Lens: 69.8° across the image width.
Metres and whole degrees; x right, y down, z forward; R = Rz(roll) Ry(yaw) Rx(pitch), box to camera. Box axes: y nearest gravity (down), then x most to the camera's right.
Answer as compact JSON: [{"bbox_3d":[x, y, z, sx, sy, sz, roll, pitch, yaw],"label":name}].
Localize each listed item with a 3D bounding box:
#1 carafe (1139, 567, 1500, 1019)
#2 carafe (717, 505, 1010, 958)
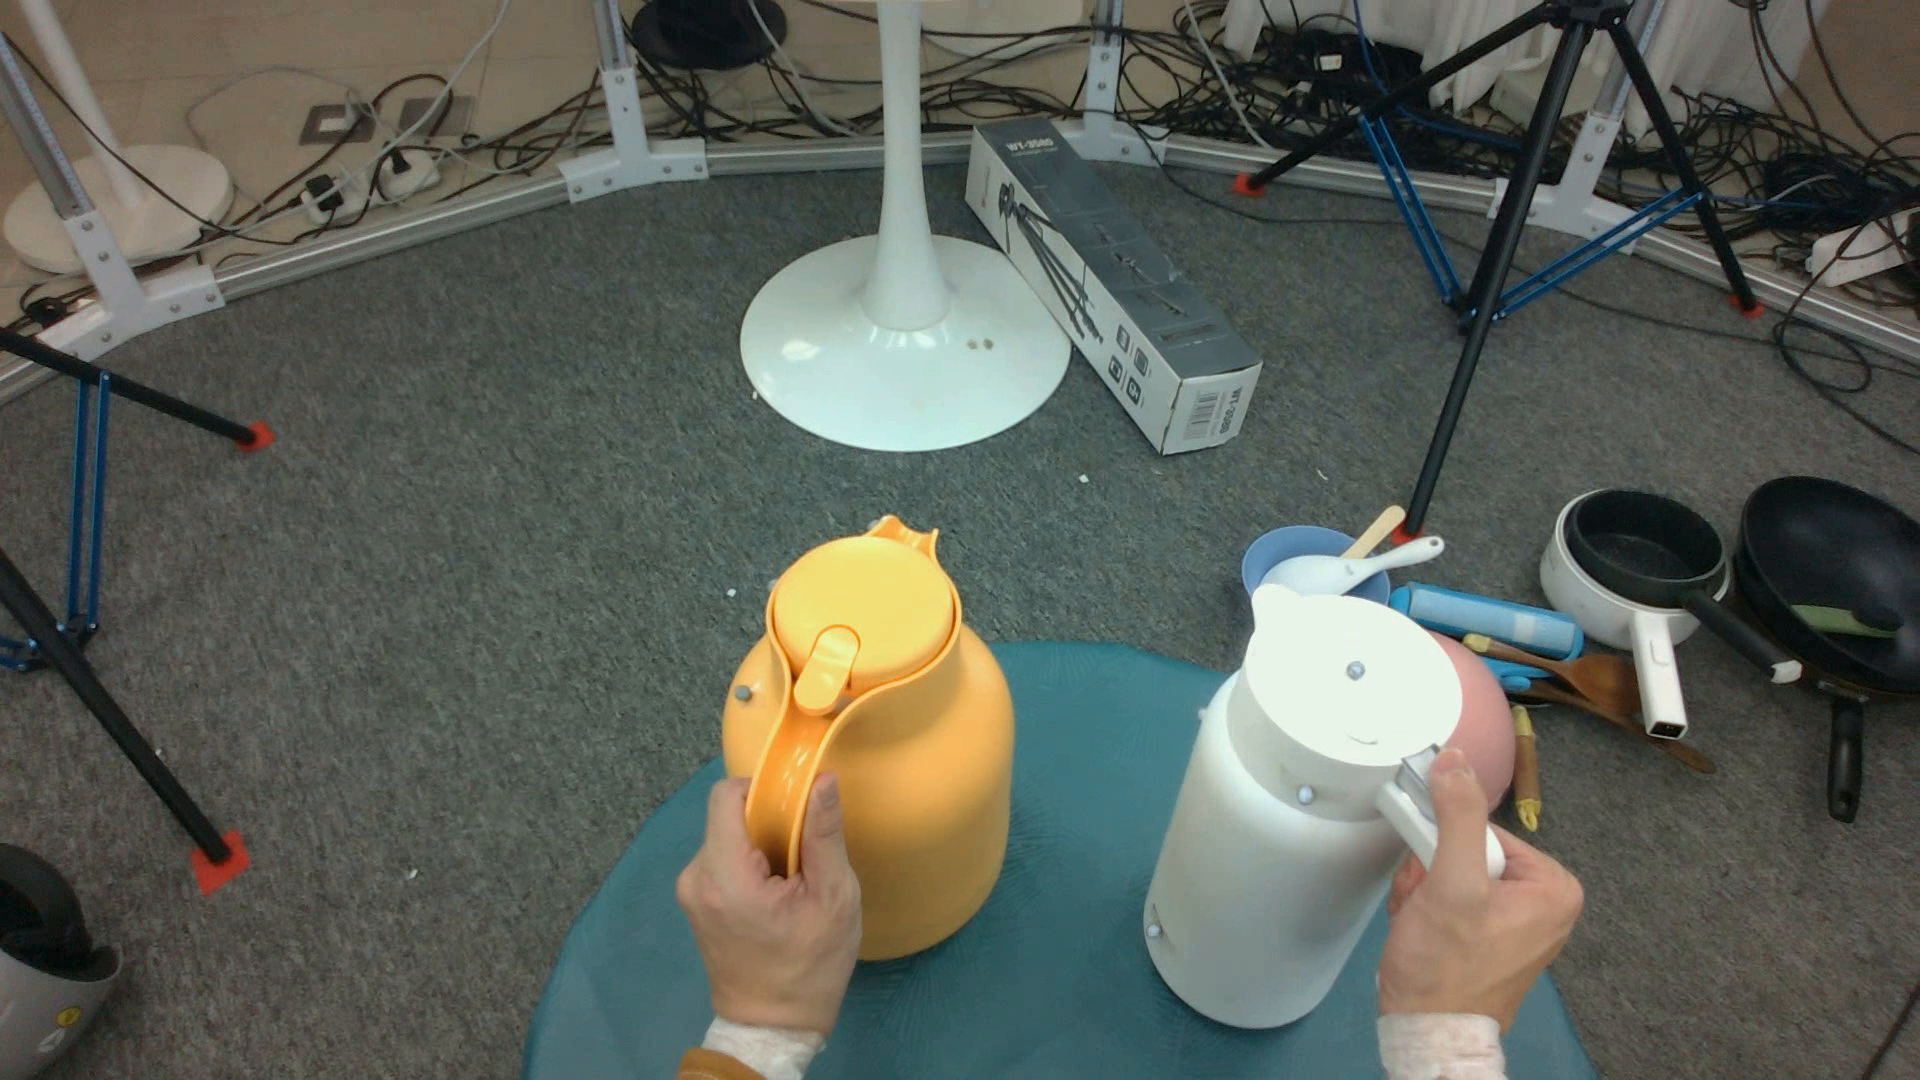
[{"bbox_3d":[0.182,0.157,0.725,0.124,0.267,0.173,-18,52,-24],"label":"carafe"},{"bbox_3d":[-0.061,0.120,0.752,0.163,0.259,0.203,16,48,16],"label":"carafe"}]
